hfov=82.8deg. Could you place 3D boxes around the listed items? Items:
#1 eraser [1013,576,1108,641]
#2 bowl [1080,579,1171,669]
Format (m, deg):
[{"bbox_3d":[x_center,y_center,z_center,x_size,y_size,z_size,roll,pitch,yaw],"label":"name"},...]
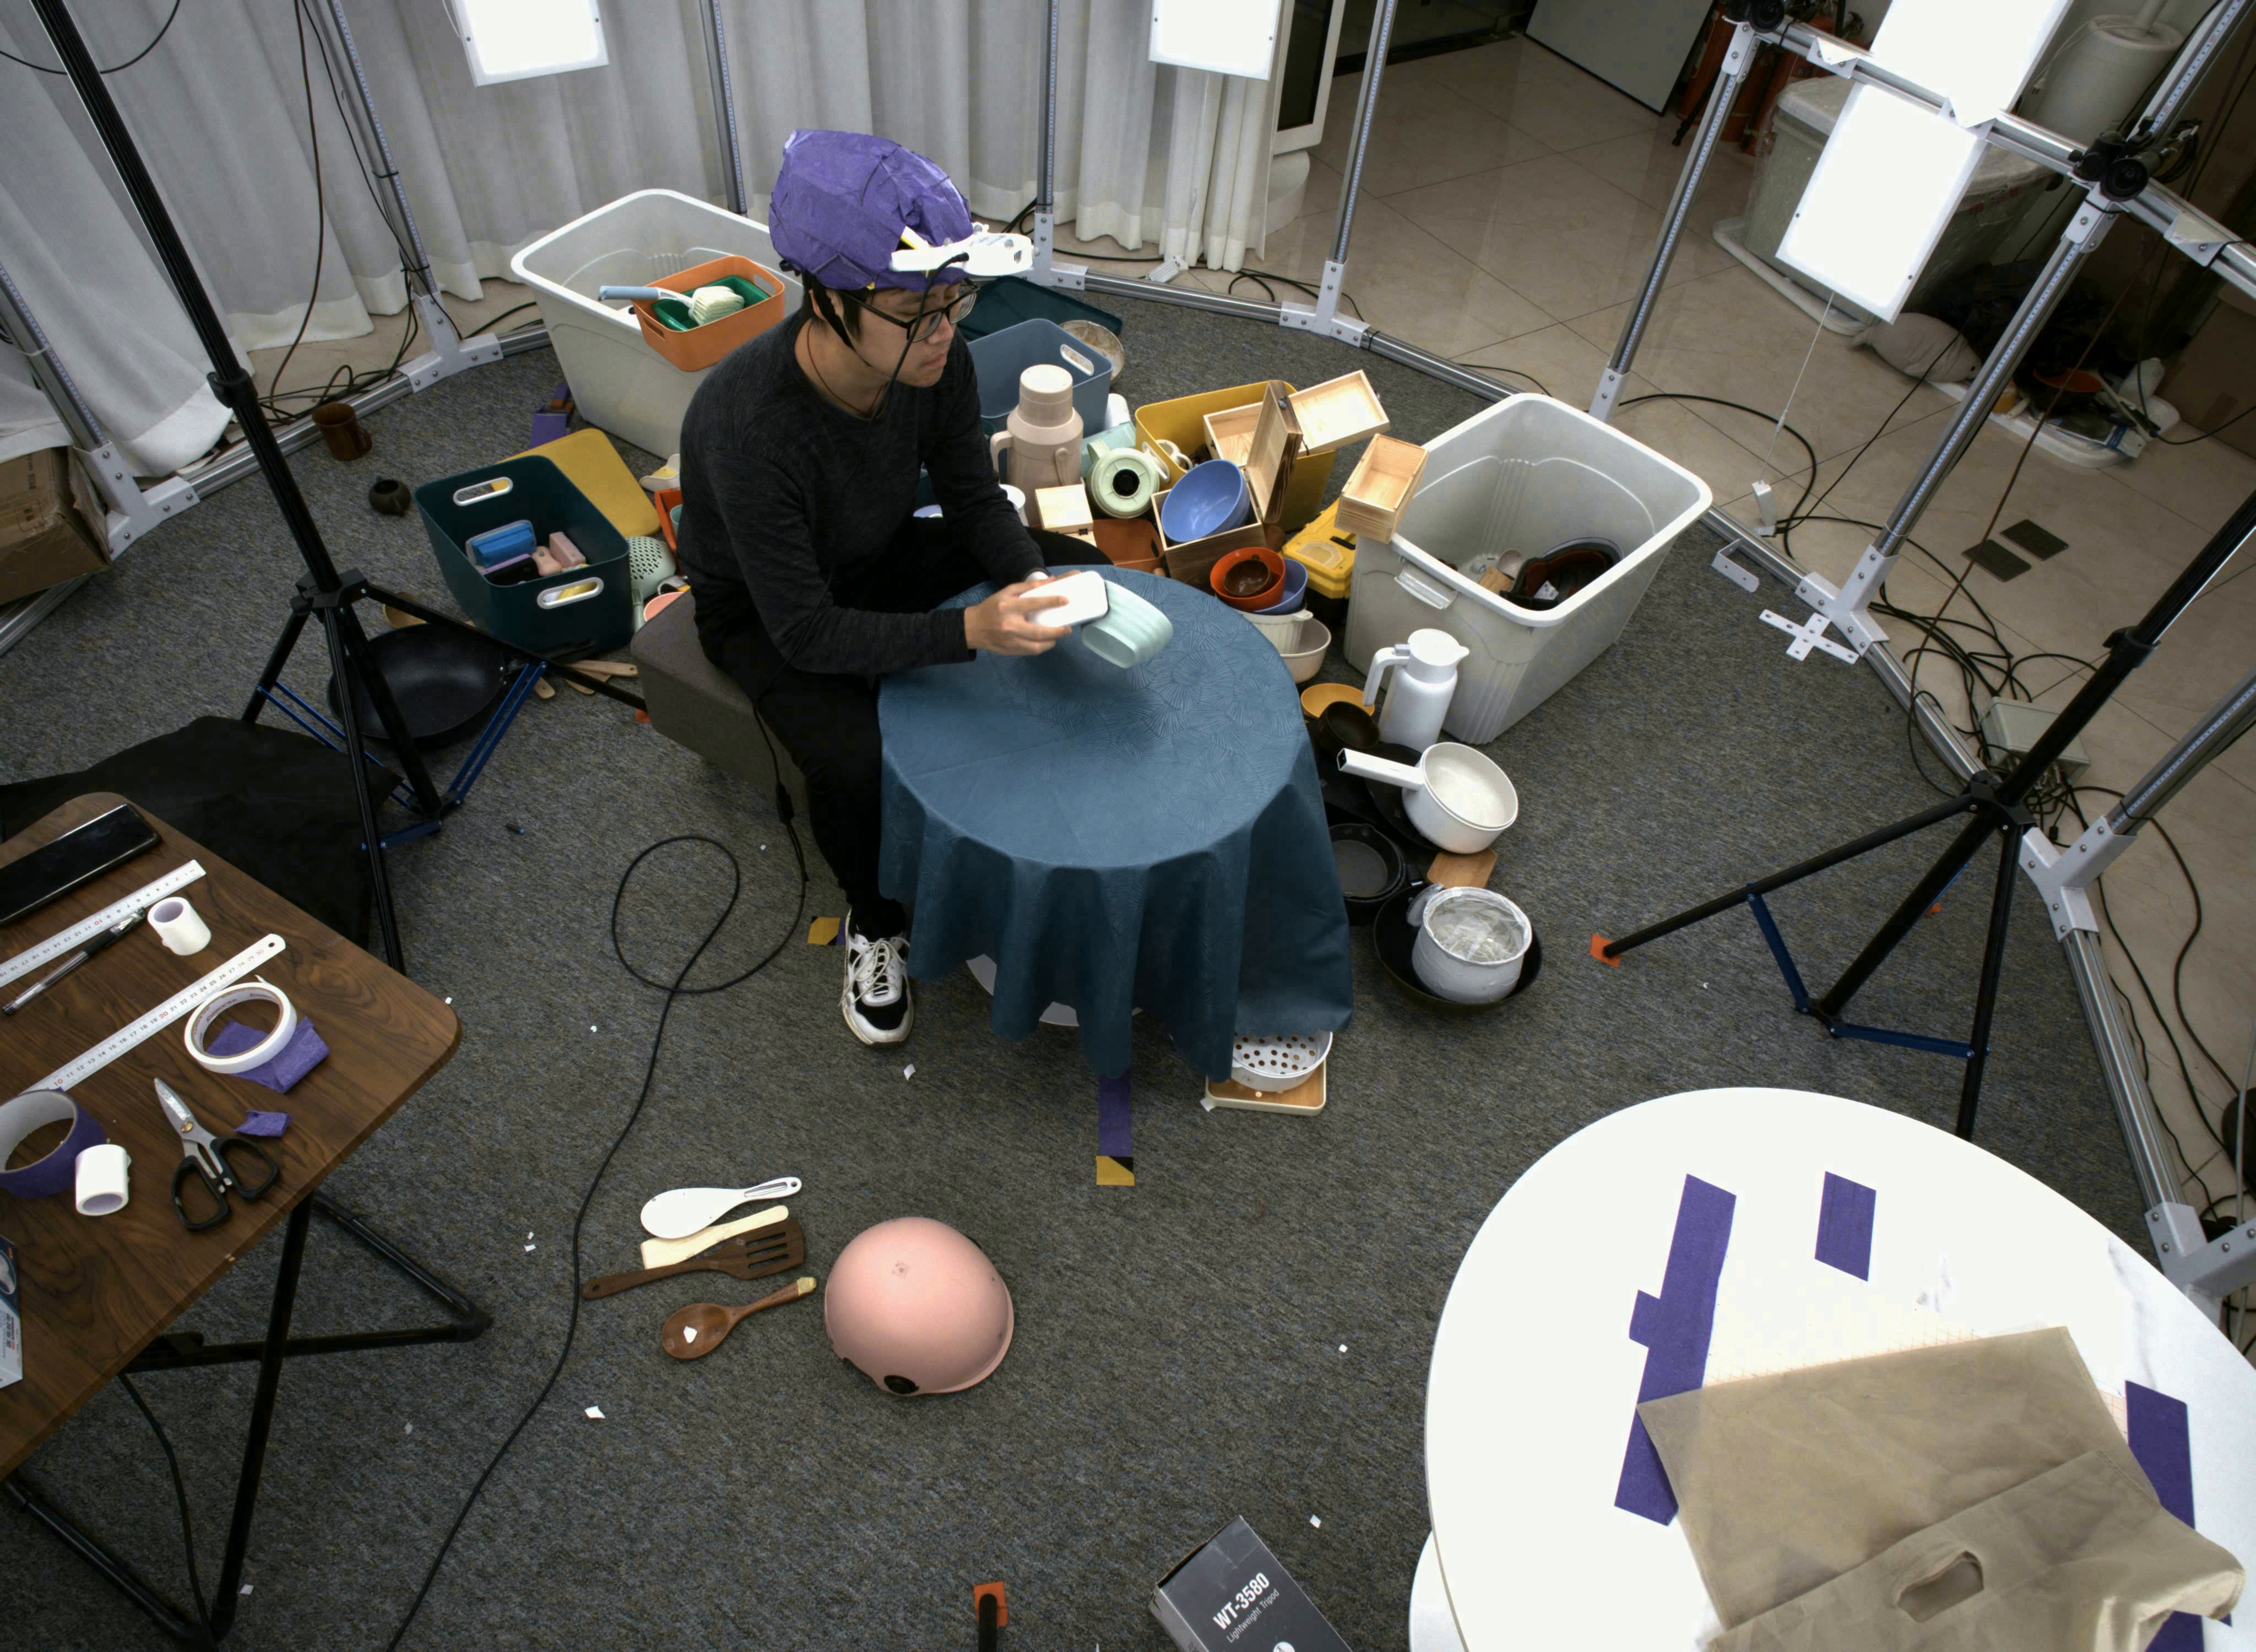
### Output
[{"bbox_3d":[-0.092,-0.291,1.718,0.131,0.034,0.064,-12,77,20],"label":"eraser"},{"bbox_3d":[-0.015,-0.268,1.763,0.153,0.148,0.059,27,73,17],"label":"bowl"}]
